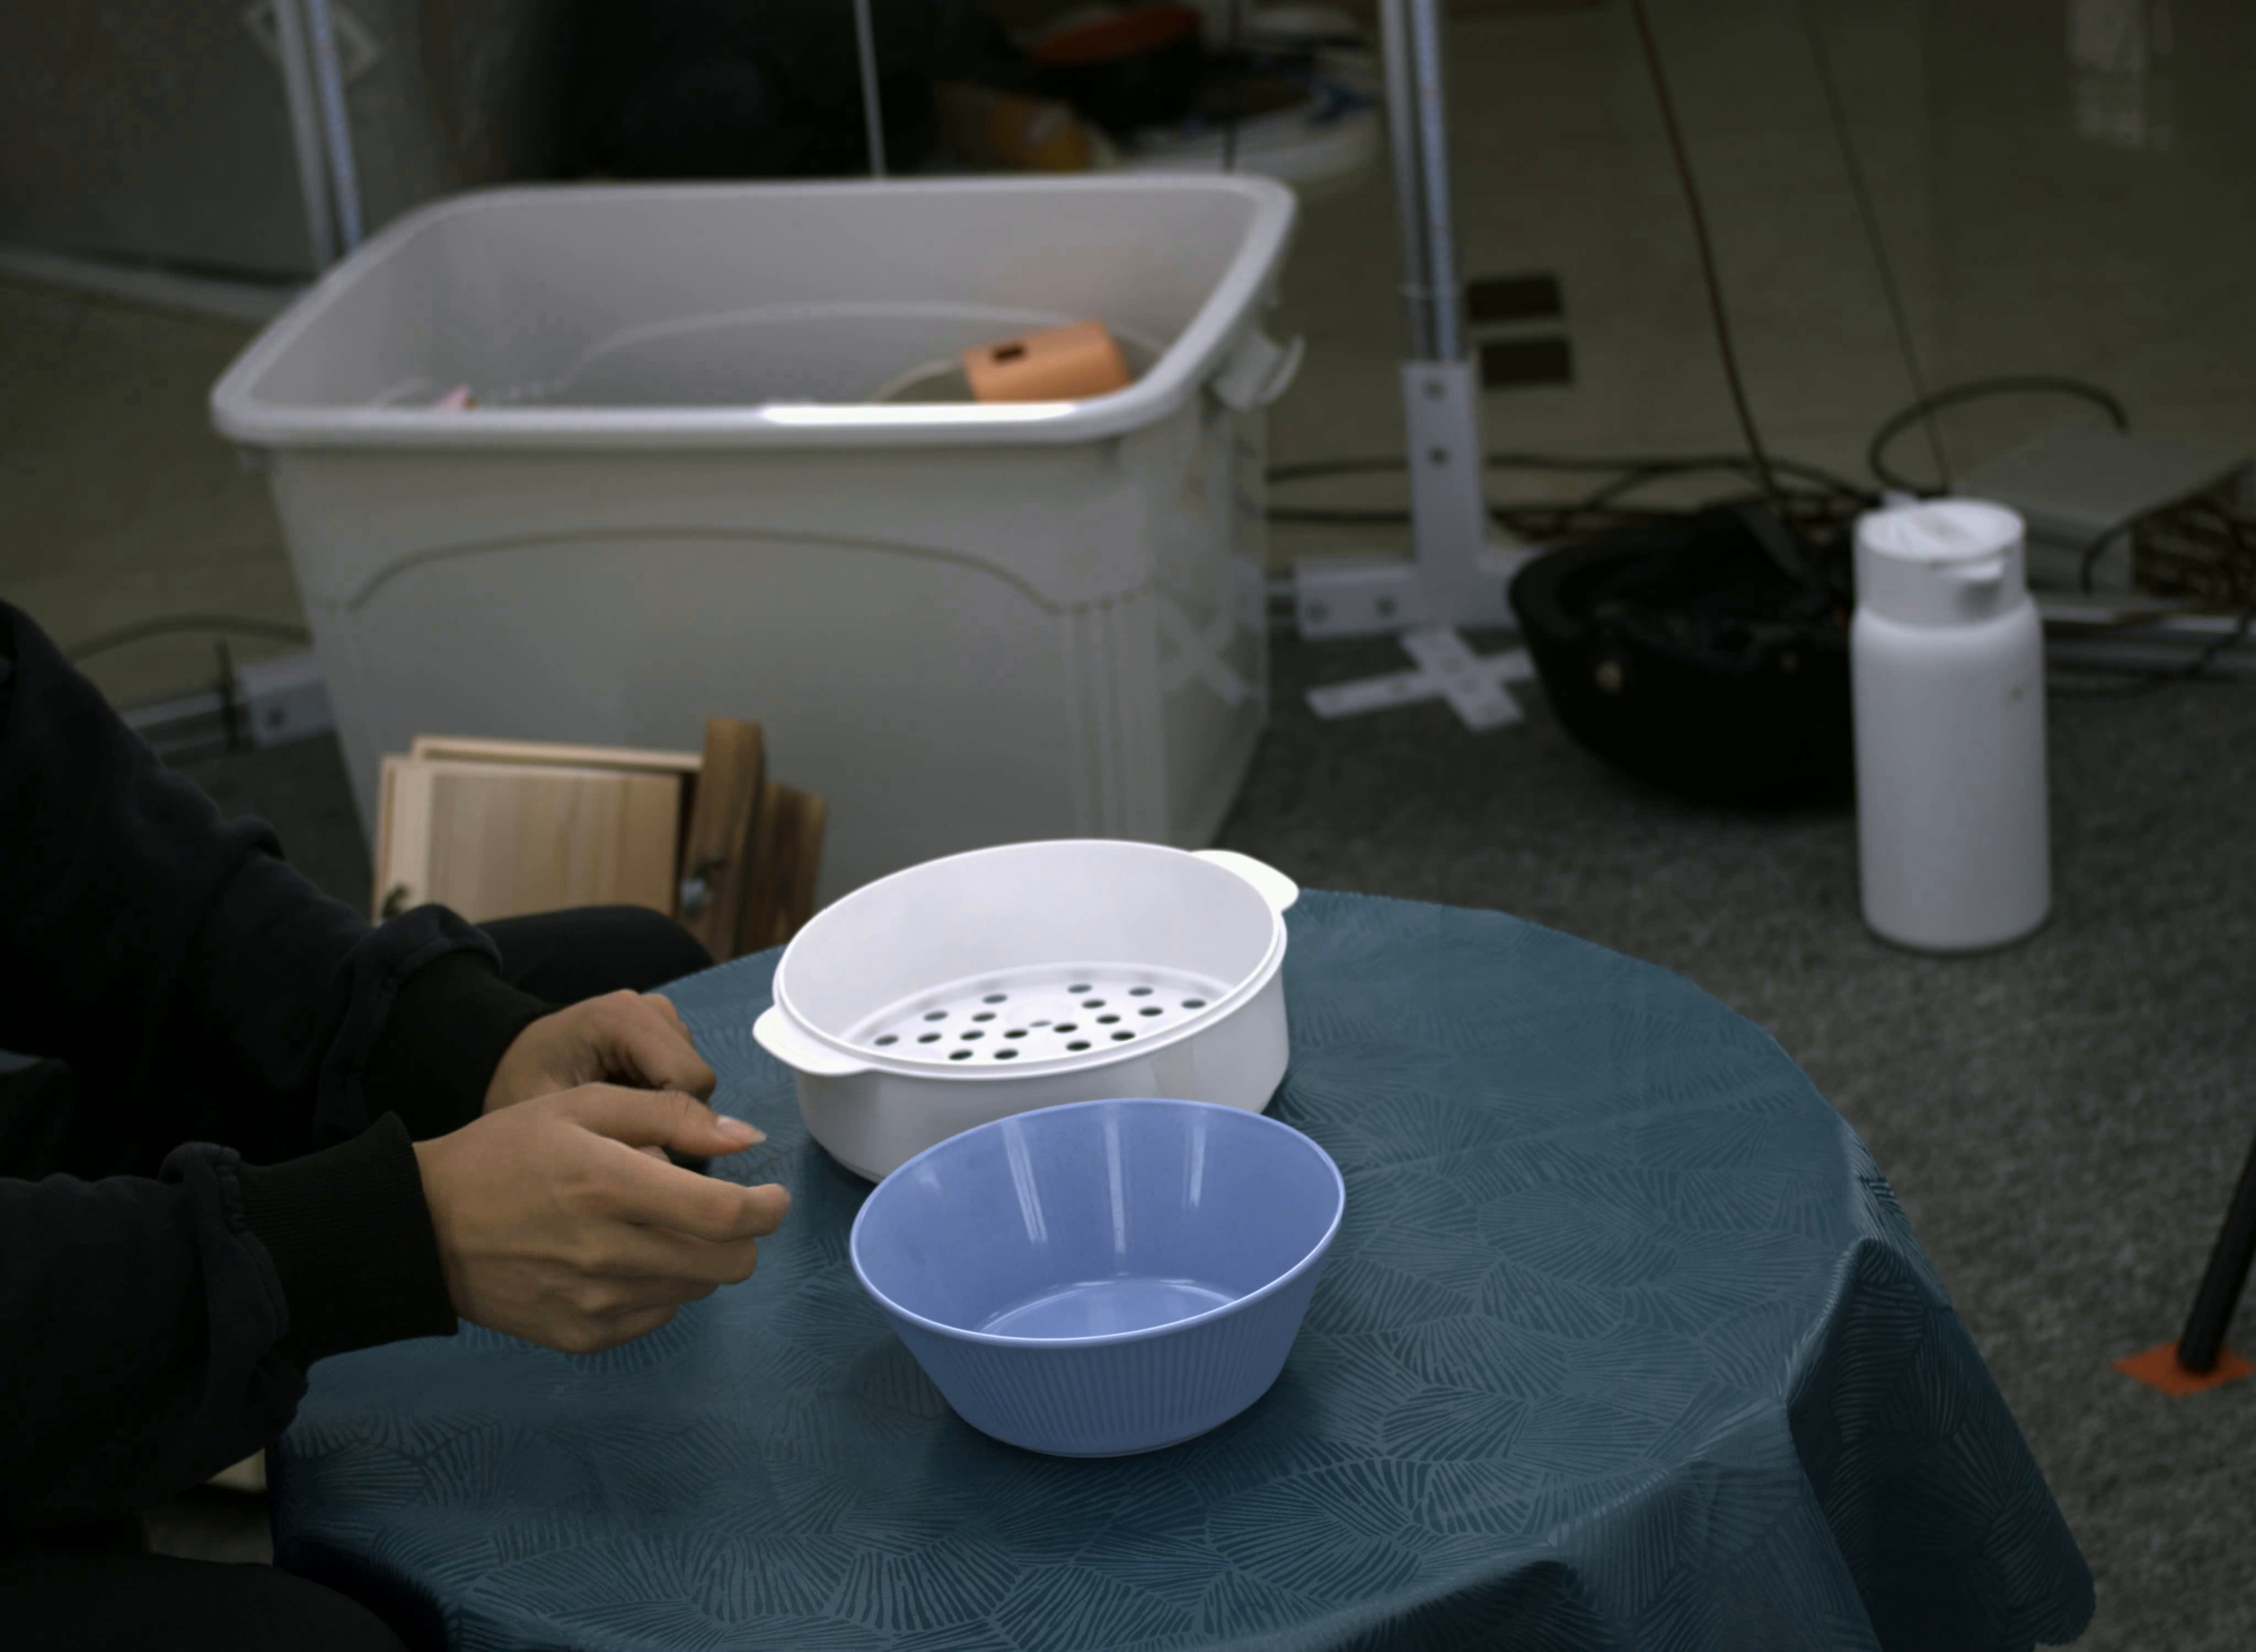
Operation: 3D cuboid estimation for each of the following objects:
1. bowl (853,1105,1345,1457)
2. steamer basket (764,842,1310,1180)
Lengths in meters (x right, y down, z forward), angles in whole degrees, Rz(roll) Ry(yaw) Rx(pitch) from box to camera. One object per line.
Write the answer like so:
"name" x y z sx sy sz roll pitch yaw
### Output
"bowl" -0.007 0.167 2.010 0.176 0.071 0.173 -6 24 3
"steamer basket" -0.031 0.075 2.215 0.229 0.070 0.200 -18 27 -29
